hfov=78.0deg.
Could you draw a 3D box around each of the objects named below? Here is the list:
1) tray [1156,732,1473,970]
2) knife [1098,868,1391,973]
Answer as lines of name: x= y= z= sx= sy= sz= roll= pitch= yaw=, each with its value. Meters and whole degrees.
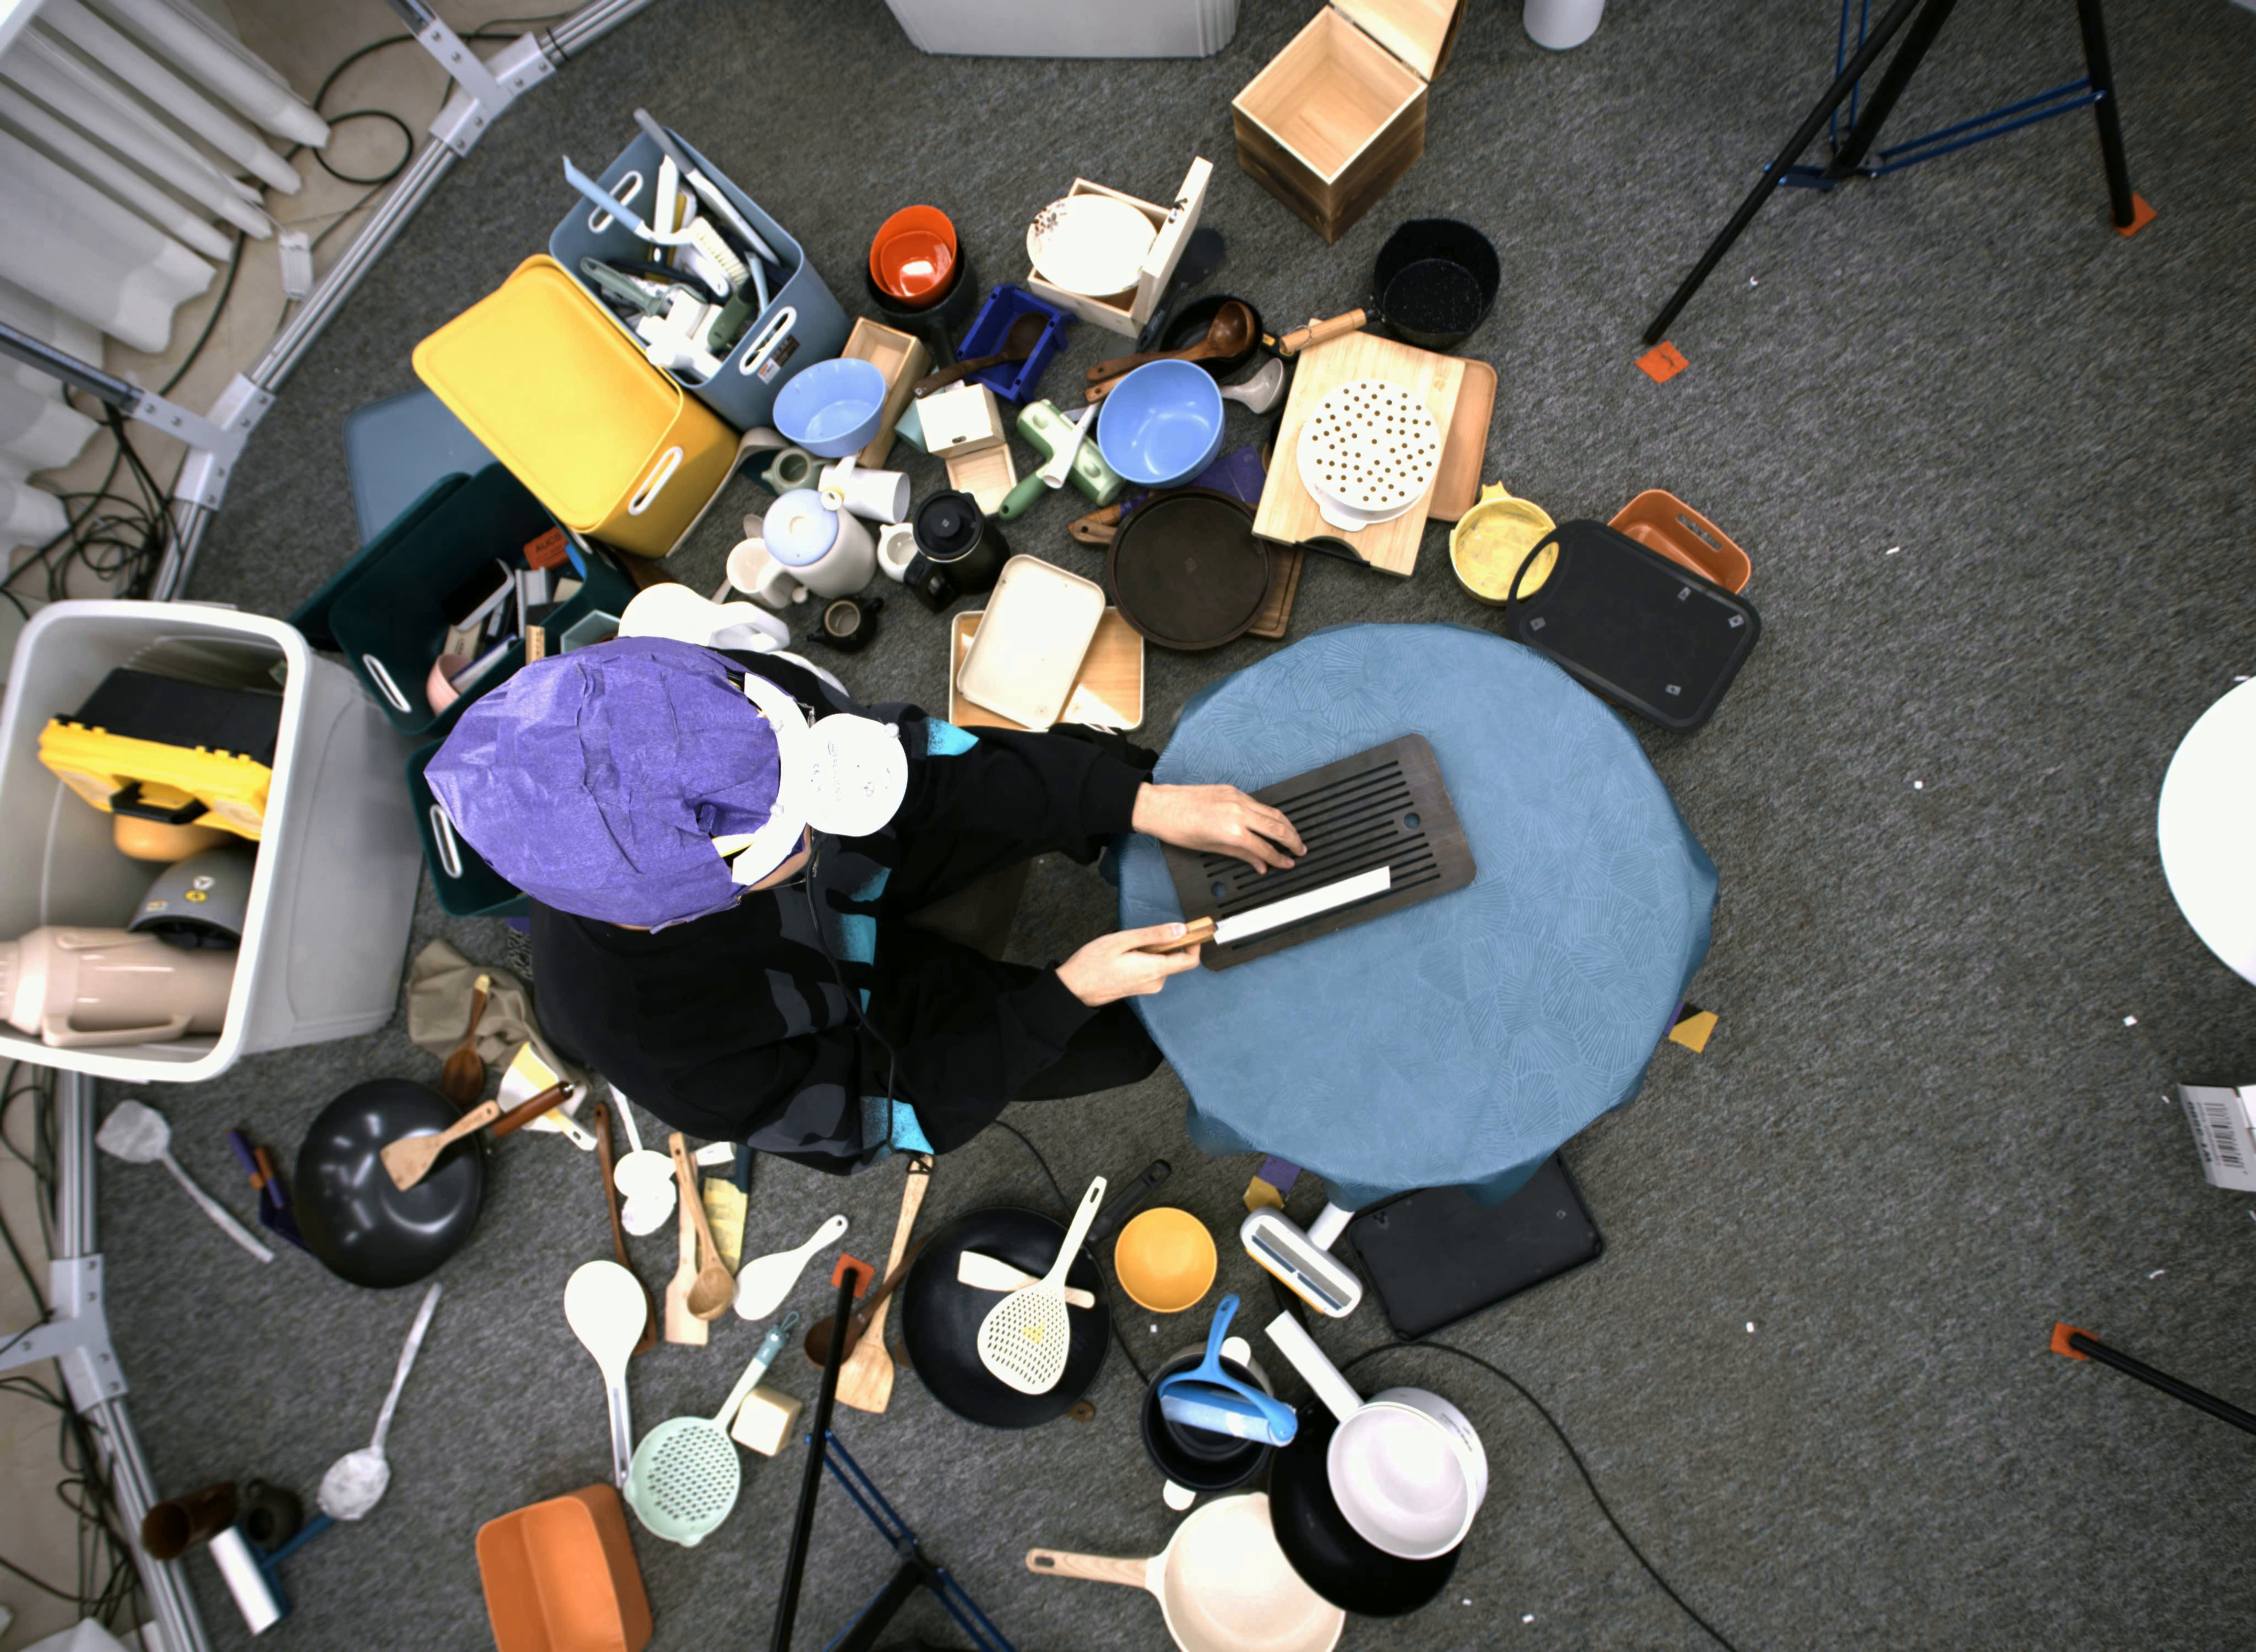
tray: x=0.195 y=0.027 z=1.467 sx=0.308 sy=0.018 sz=0.169 roll=-20 pitch=84 yaw=9
knife: x=0.121 y=0.098 z=1.413 sx=0.307 sy=0.094 sz=0.021 roll=-18 pitch=73 yaw=7
